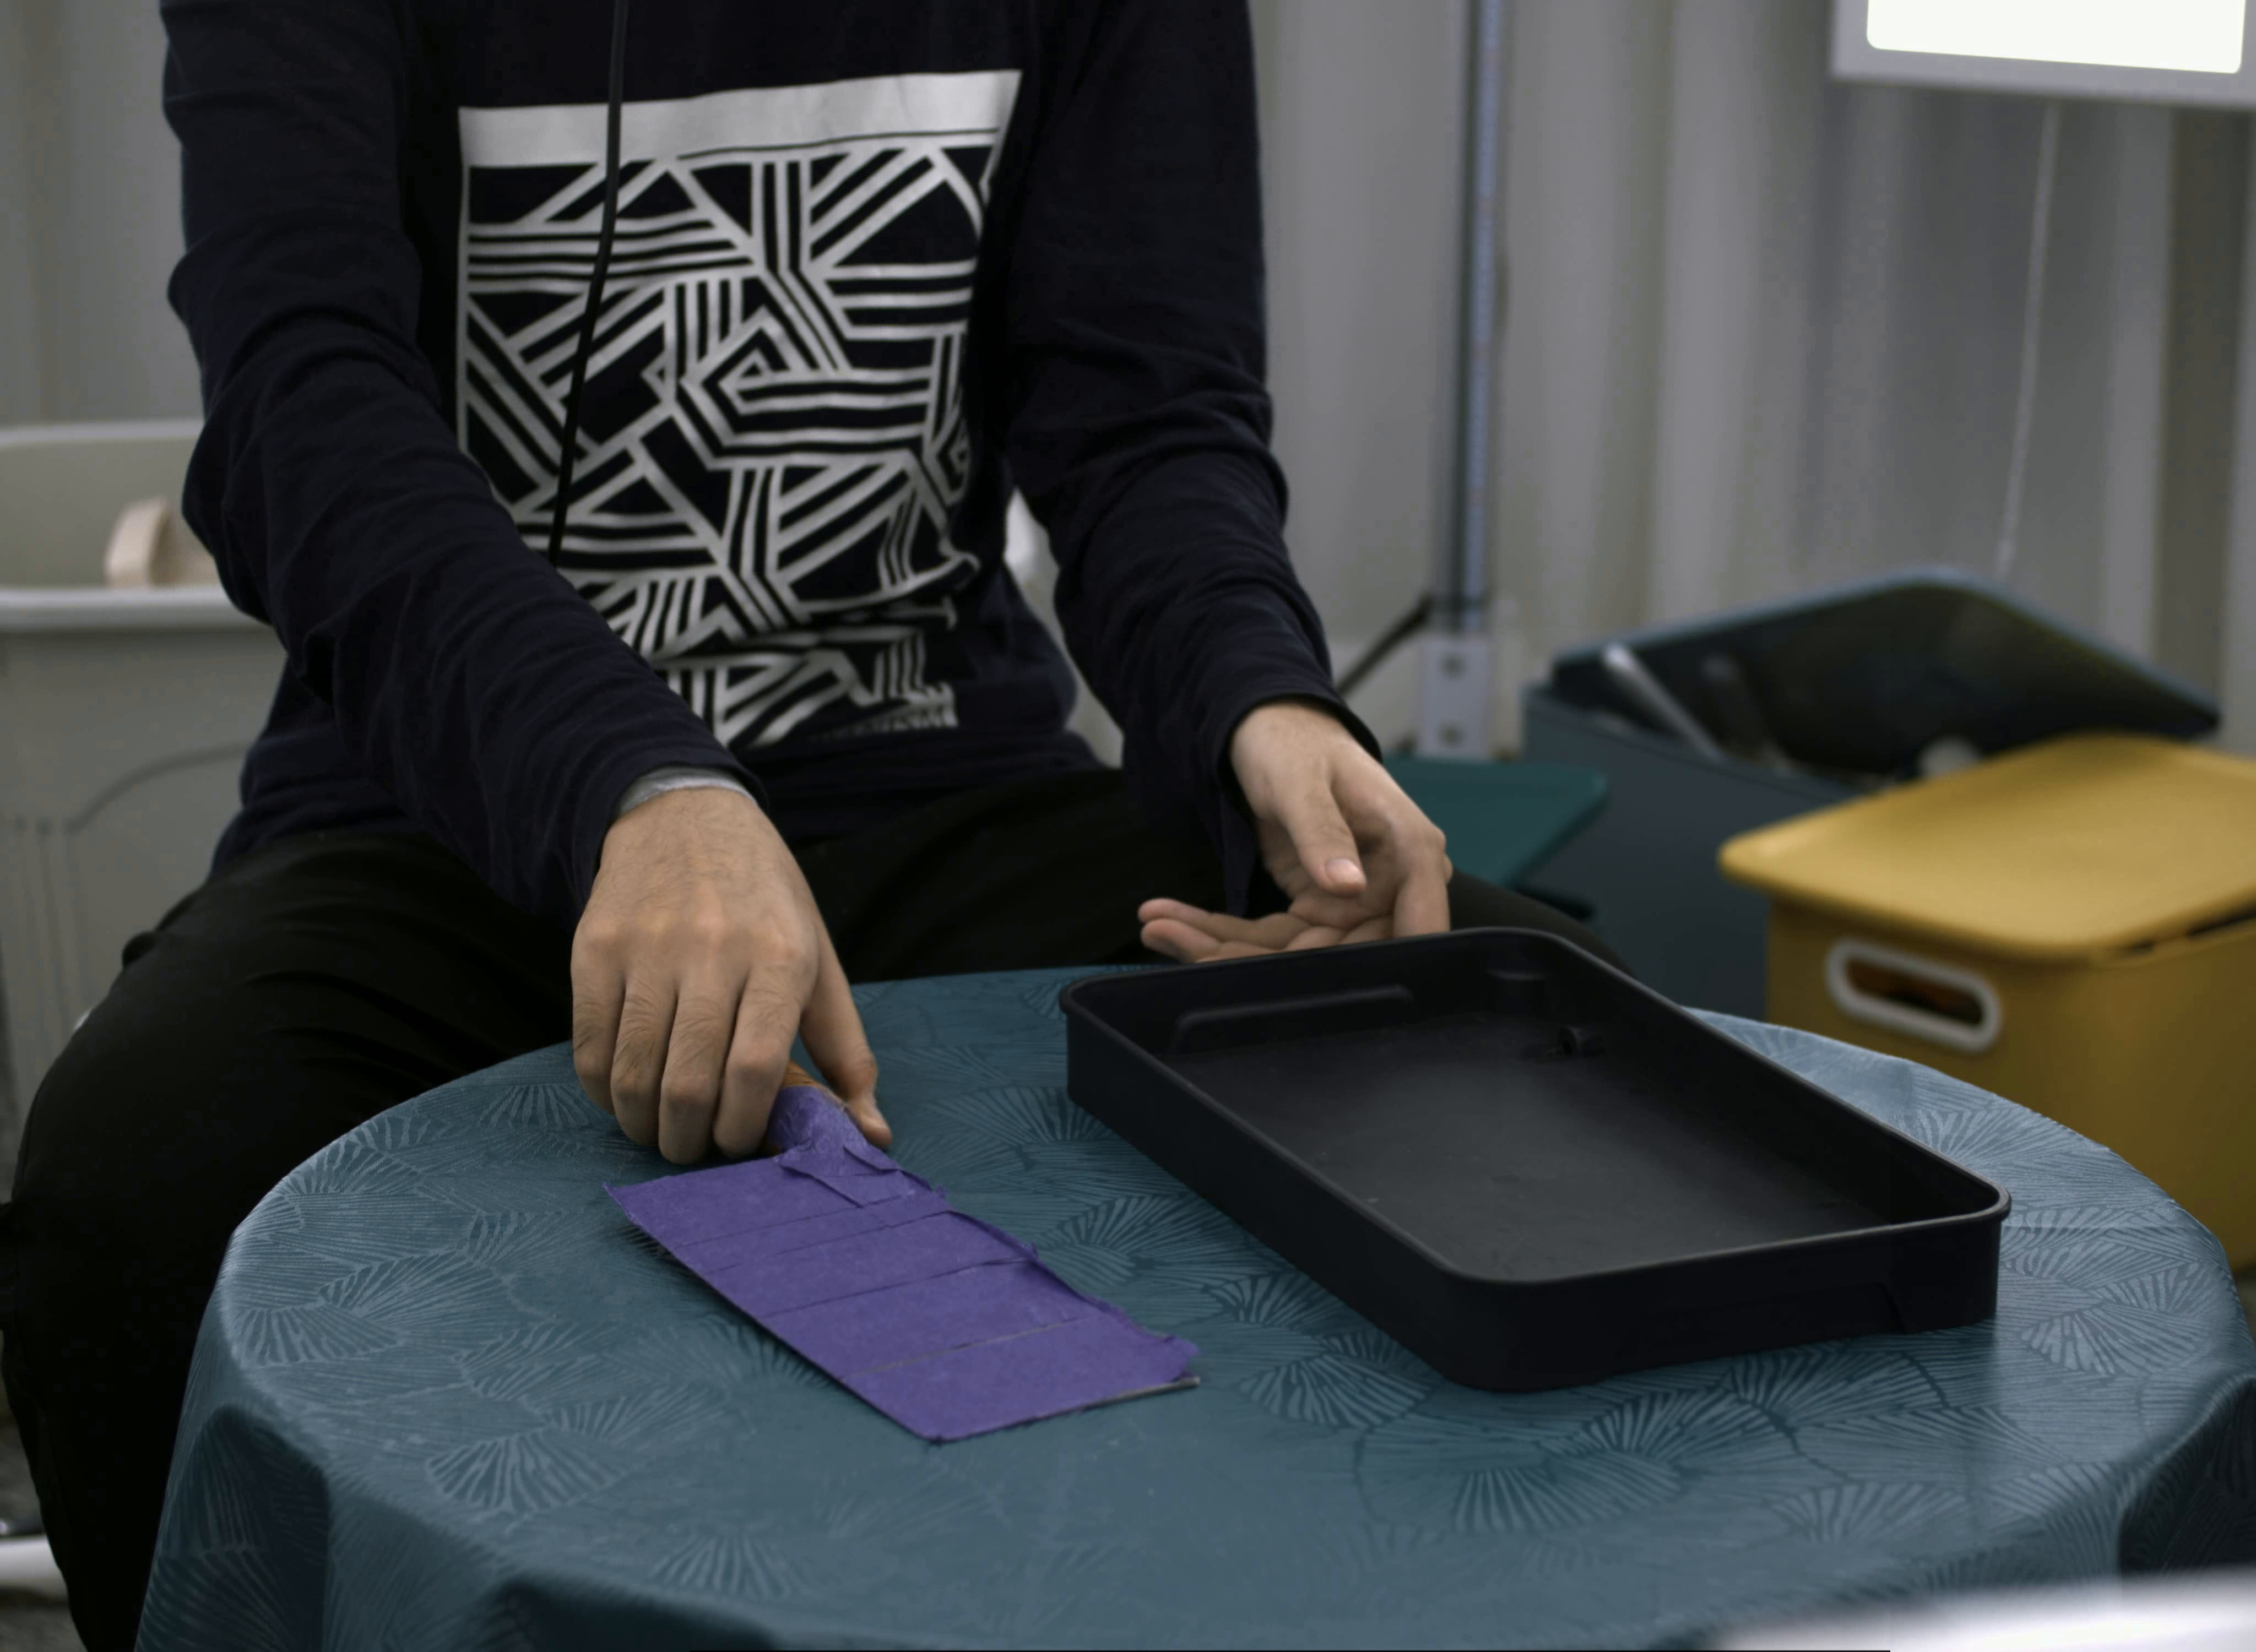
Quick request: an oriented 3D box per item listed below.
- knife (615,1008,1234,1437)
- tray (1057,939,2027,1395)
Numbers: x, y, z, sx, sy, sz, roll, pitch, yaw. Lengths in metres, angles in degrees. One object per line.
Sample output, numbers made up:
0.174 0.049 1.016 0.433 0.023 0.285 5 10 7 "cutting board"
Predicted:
-0.093 0.114 1.565 0.104 0.032 0.311 -9 19 -31 "knife"
0.119 0.099 1.618 0.185 0.037 0.314 -7 16 -24 "tray"
